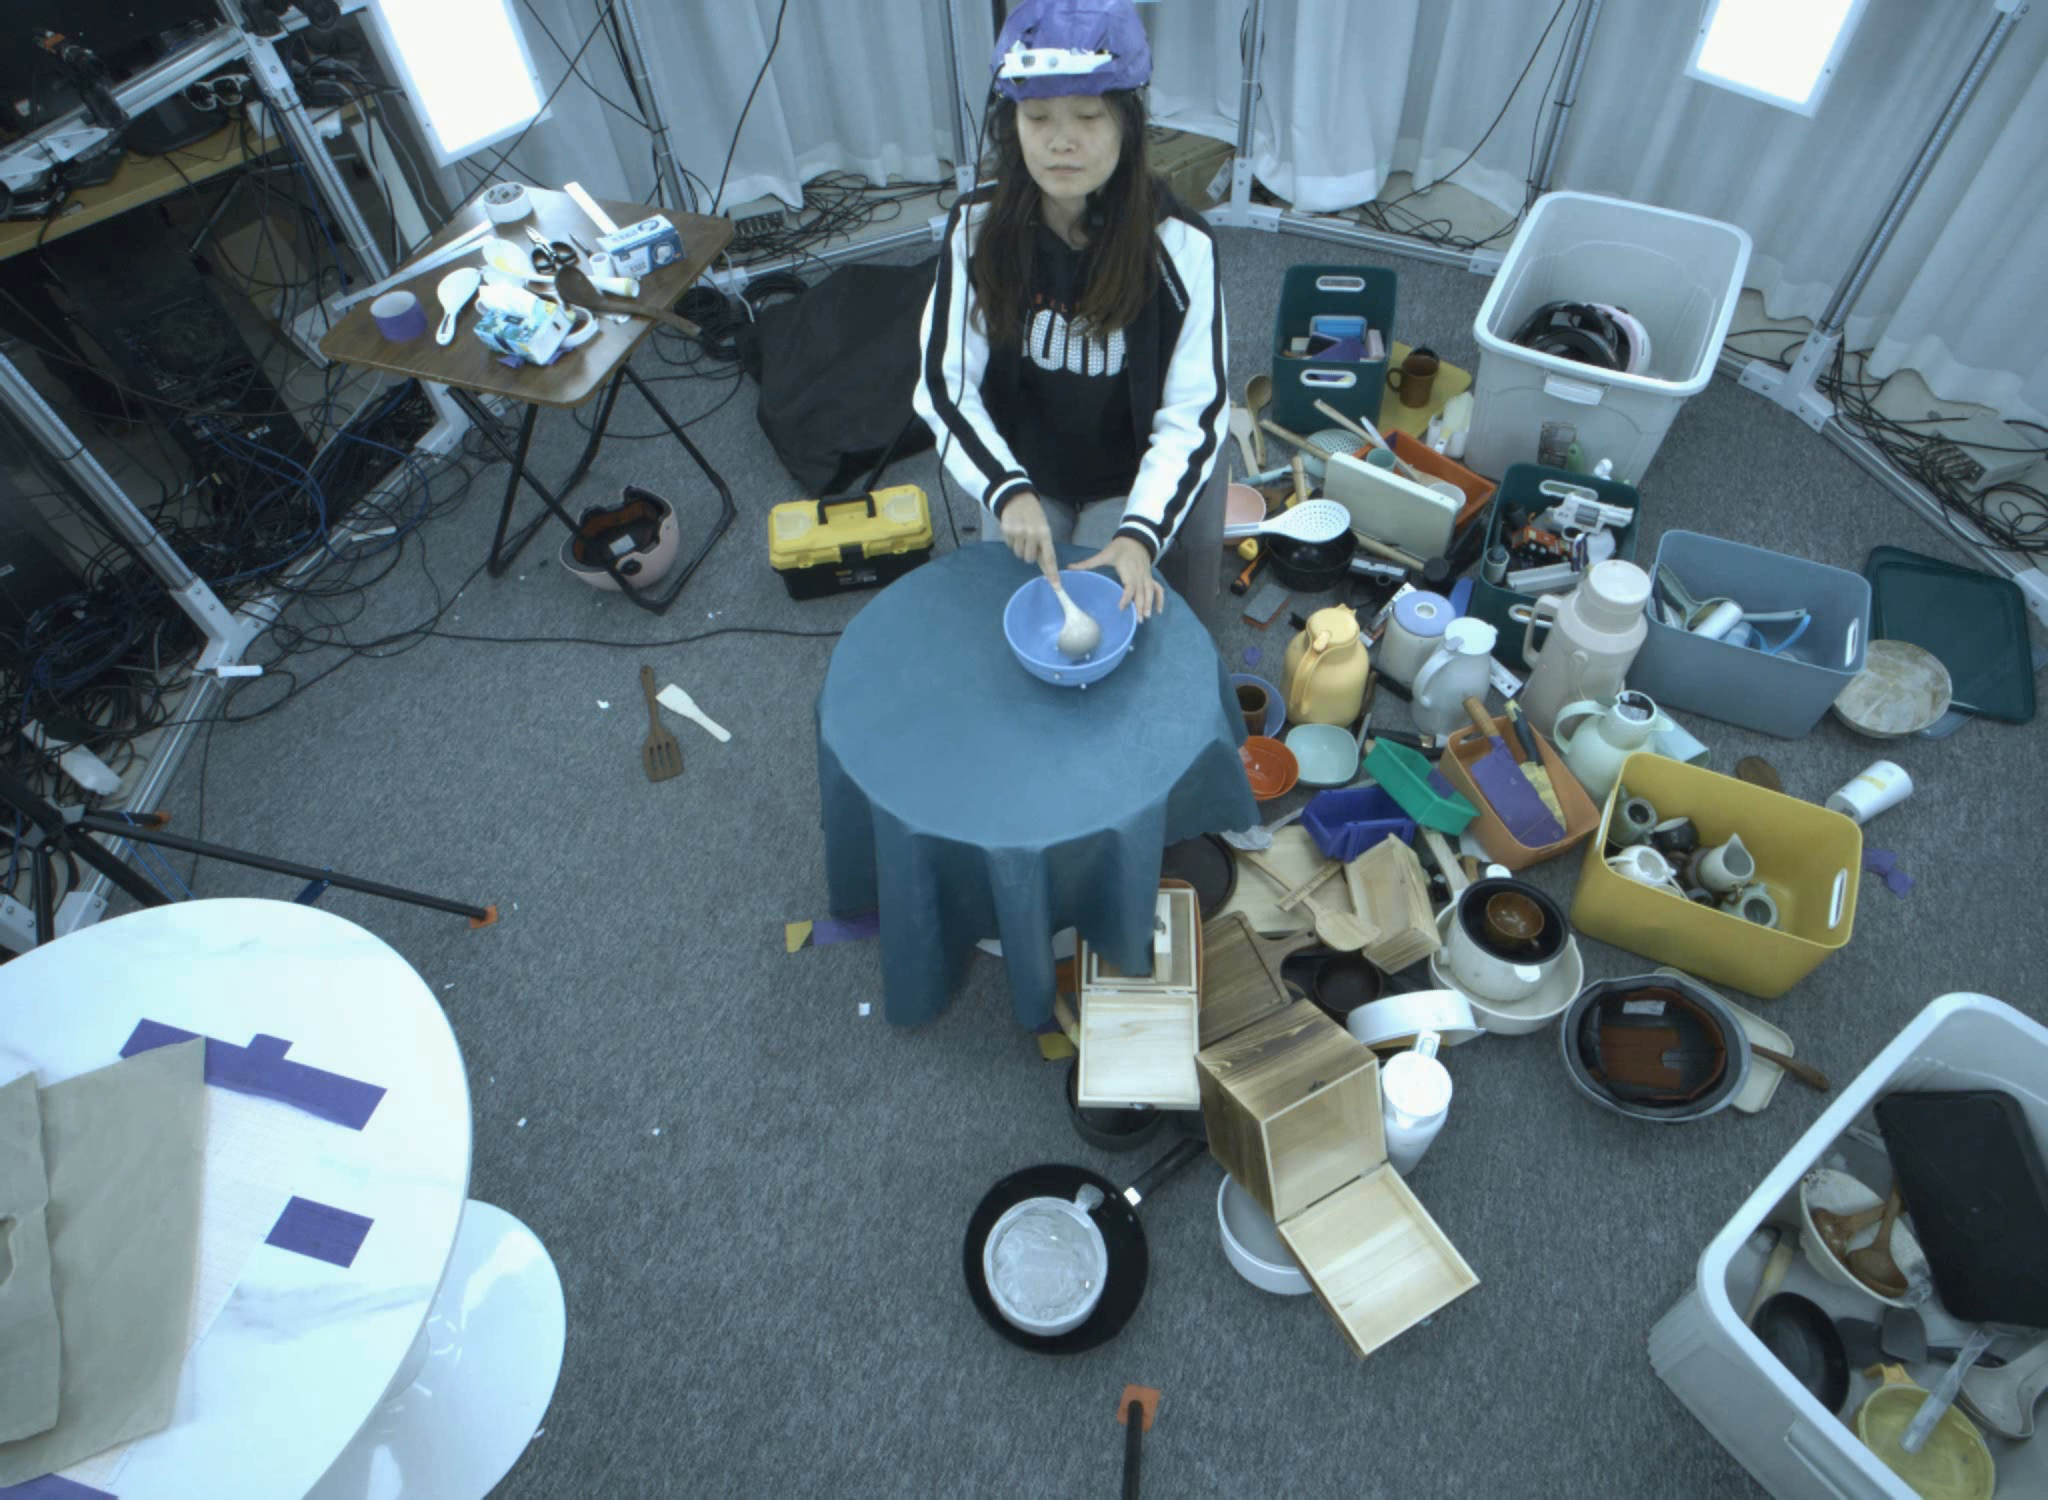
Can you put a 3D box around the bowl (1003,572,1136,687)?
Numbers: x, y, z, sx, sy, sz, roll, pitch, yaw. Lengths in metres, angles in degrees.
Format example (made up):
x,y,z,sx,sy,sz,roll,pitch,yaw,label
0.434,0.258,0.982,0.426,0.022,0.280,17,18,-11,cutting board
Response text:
x,y,z,sx,sy,sz,roll,pitch,yaw,label
0.070,-0.166,1.849,0.196,0.096,0.194,-1,54,3,bowl

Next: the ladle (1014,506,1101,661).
x,y,z,sx,sy,sz,roll,pitch,yaw,label
0.039,-0.251,1.869,0.073,0.073,0.252,-22,74,-13,ladle
